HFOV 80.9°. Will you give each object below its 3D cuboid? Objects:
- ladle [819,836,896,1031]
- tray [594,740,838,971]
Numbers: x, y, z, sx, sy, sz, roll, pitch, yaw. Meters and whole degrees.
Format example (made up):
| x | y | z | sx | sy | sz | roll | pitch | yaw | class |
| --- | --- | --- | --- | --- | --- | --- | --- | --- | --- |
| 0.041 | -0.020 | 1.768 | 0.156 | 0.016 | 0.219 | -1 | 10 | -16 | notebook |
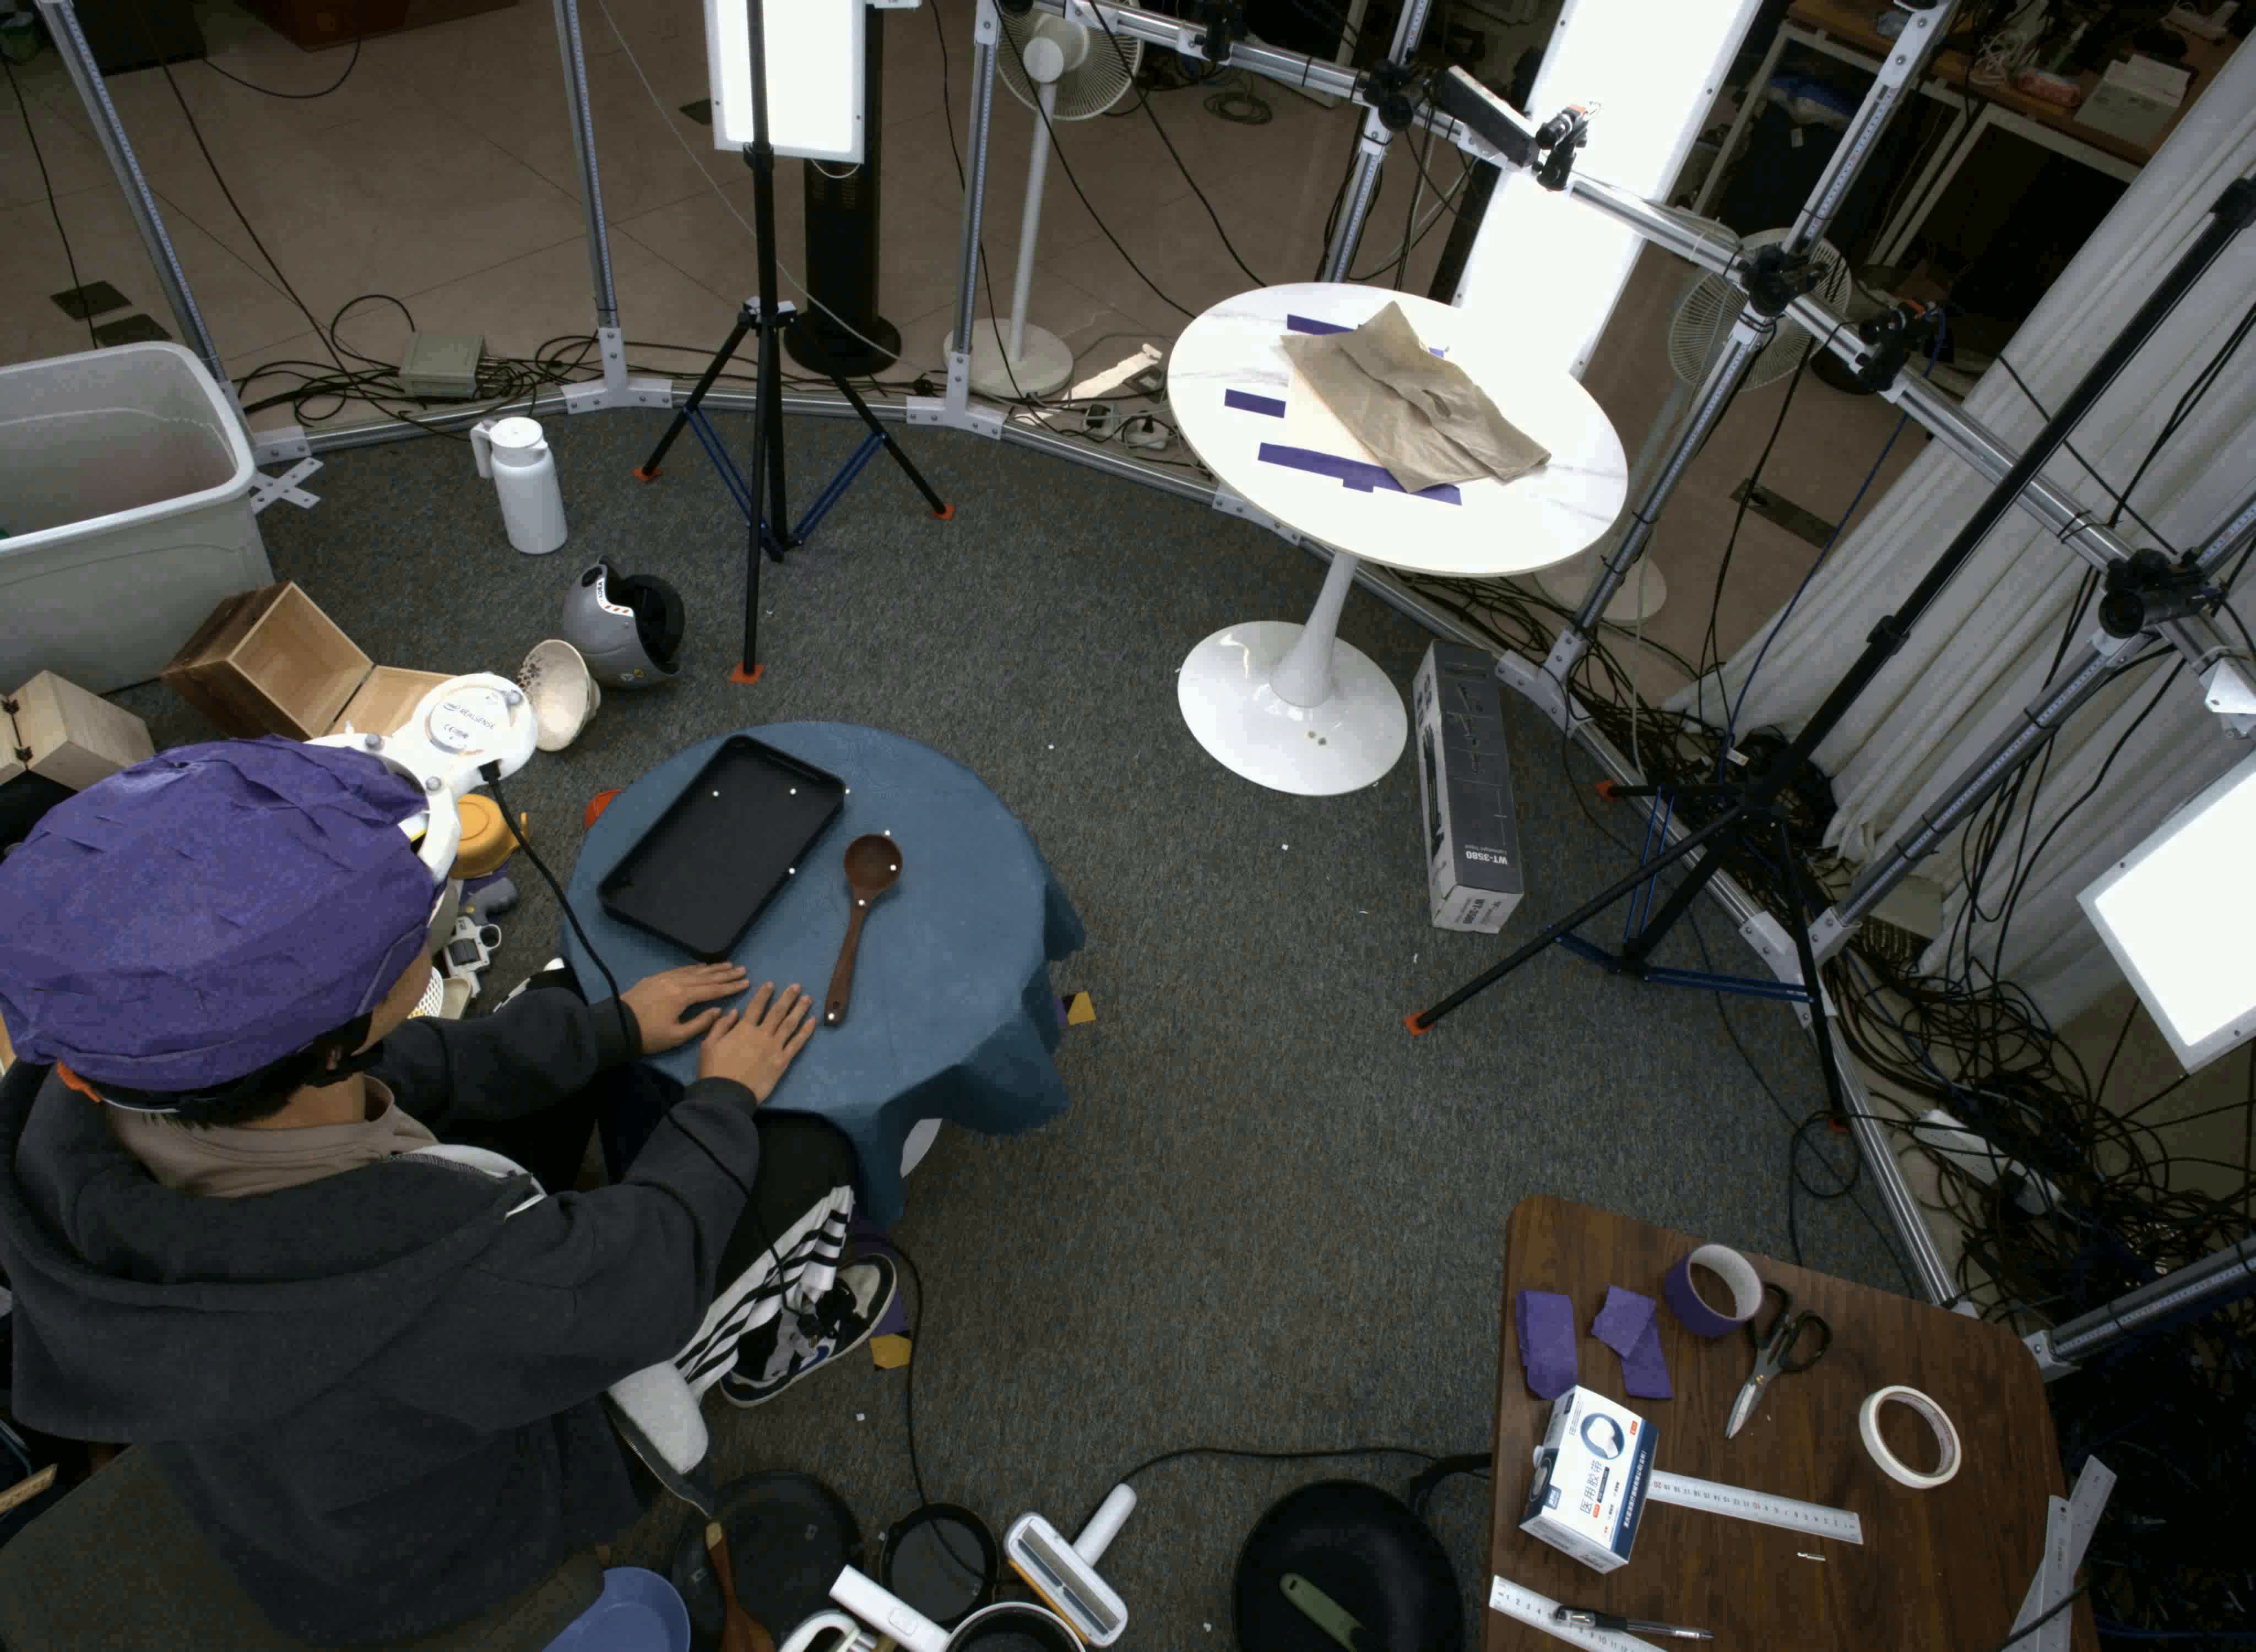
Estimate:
| x | y | z | sx | sy | sz | roll | pitch | yaw | class |
| --- | --- | --- | --- | --- | --- | --- | --- | --- | --- |
| -0.346 | 0.126 | 1.613 | 0.076 | 0.066 | 0.256 | 11 | 52 | -6 | ladle |
| -0.523 | 0.029 | 1.655 | 0.182 | 0.038 | 0.315 | 25 | 50 | 4 | tray |
